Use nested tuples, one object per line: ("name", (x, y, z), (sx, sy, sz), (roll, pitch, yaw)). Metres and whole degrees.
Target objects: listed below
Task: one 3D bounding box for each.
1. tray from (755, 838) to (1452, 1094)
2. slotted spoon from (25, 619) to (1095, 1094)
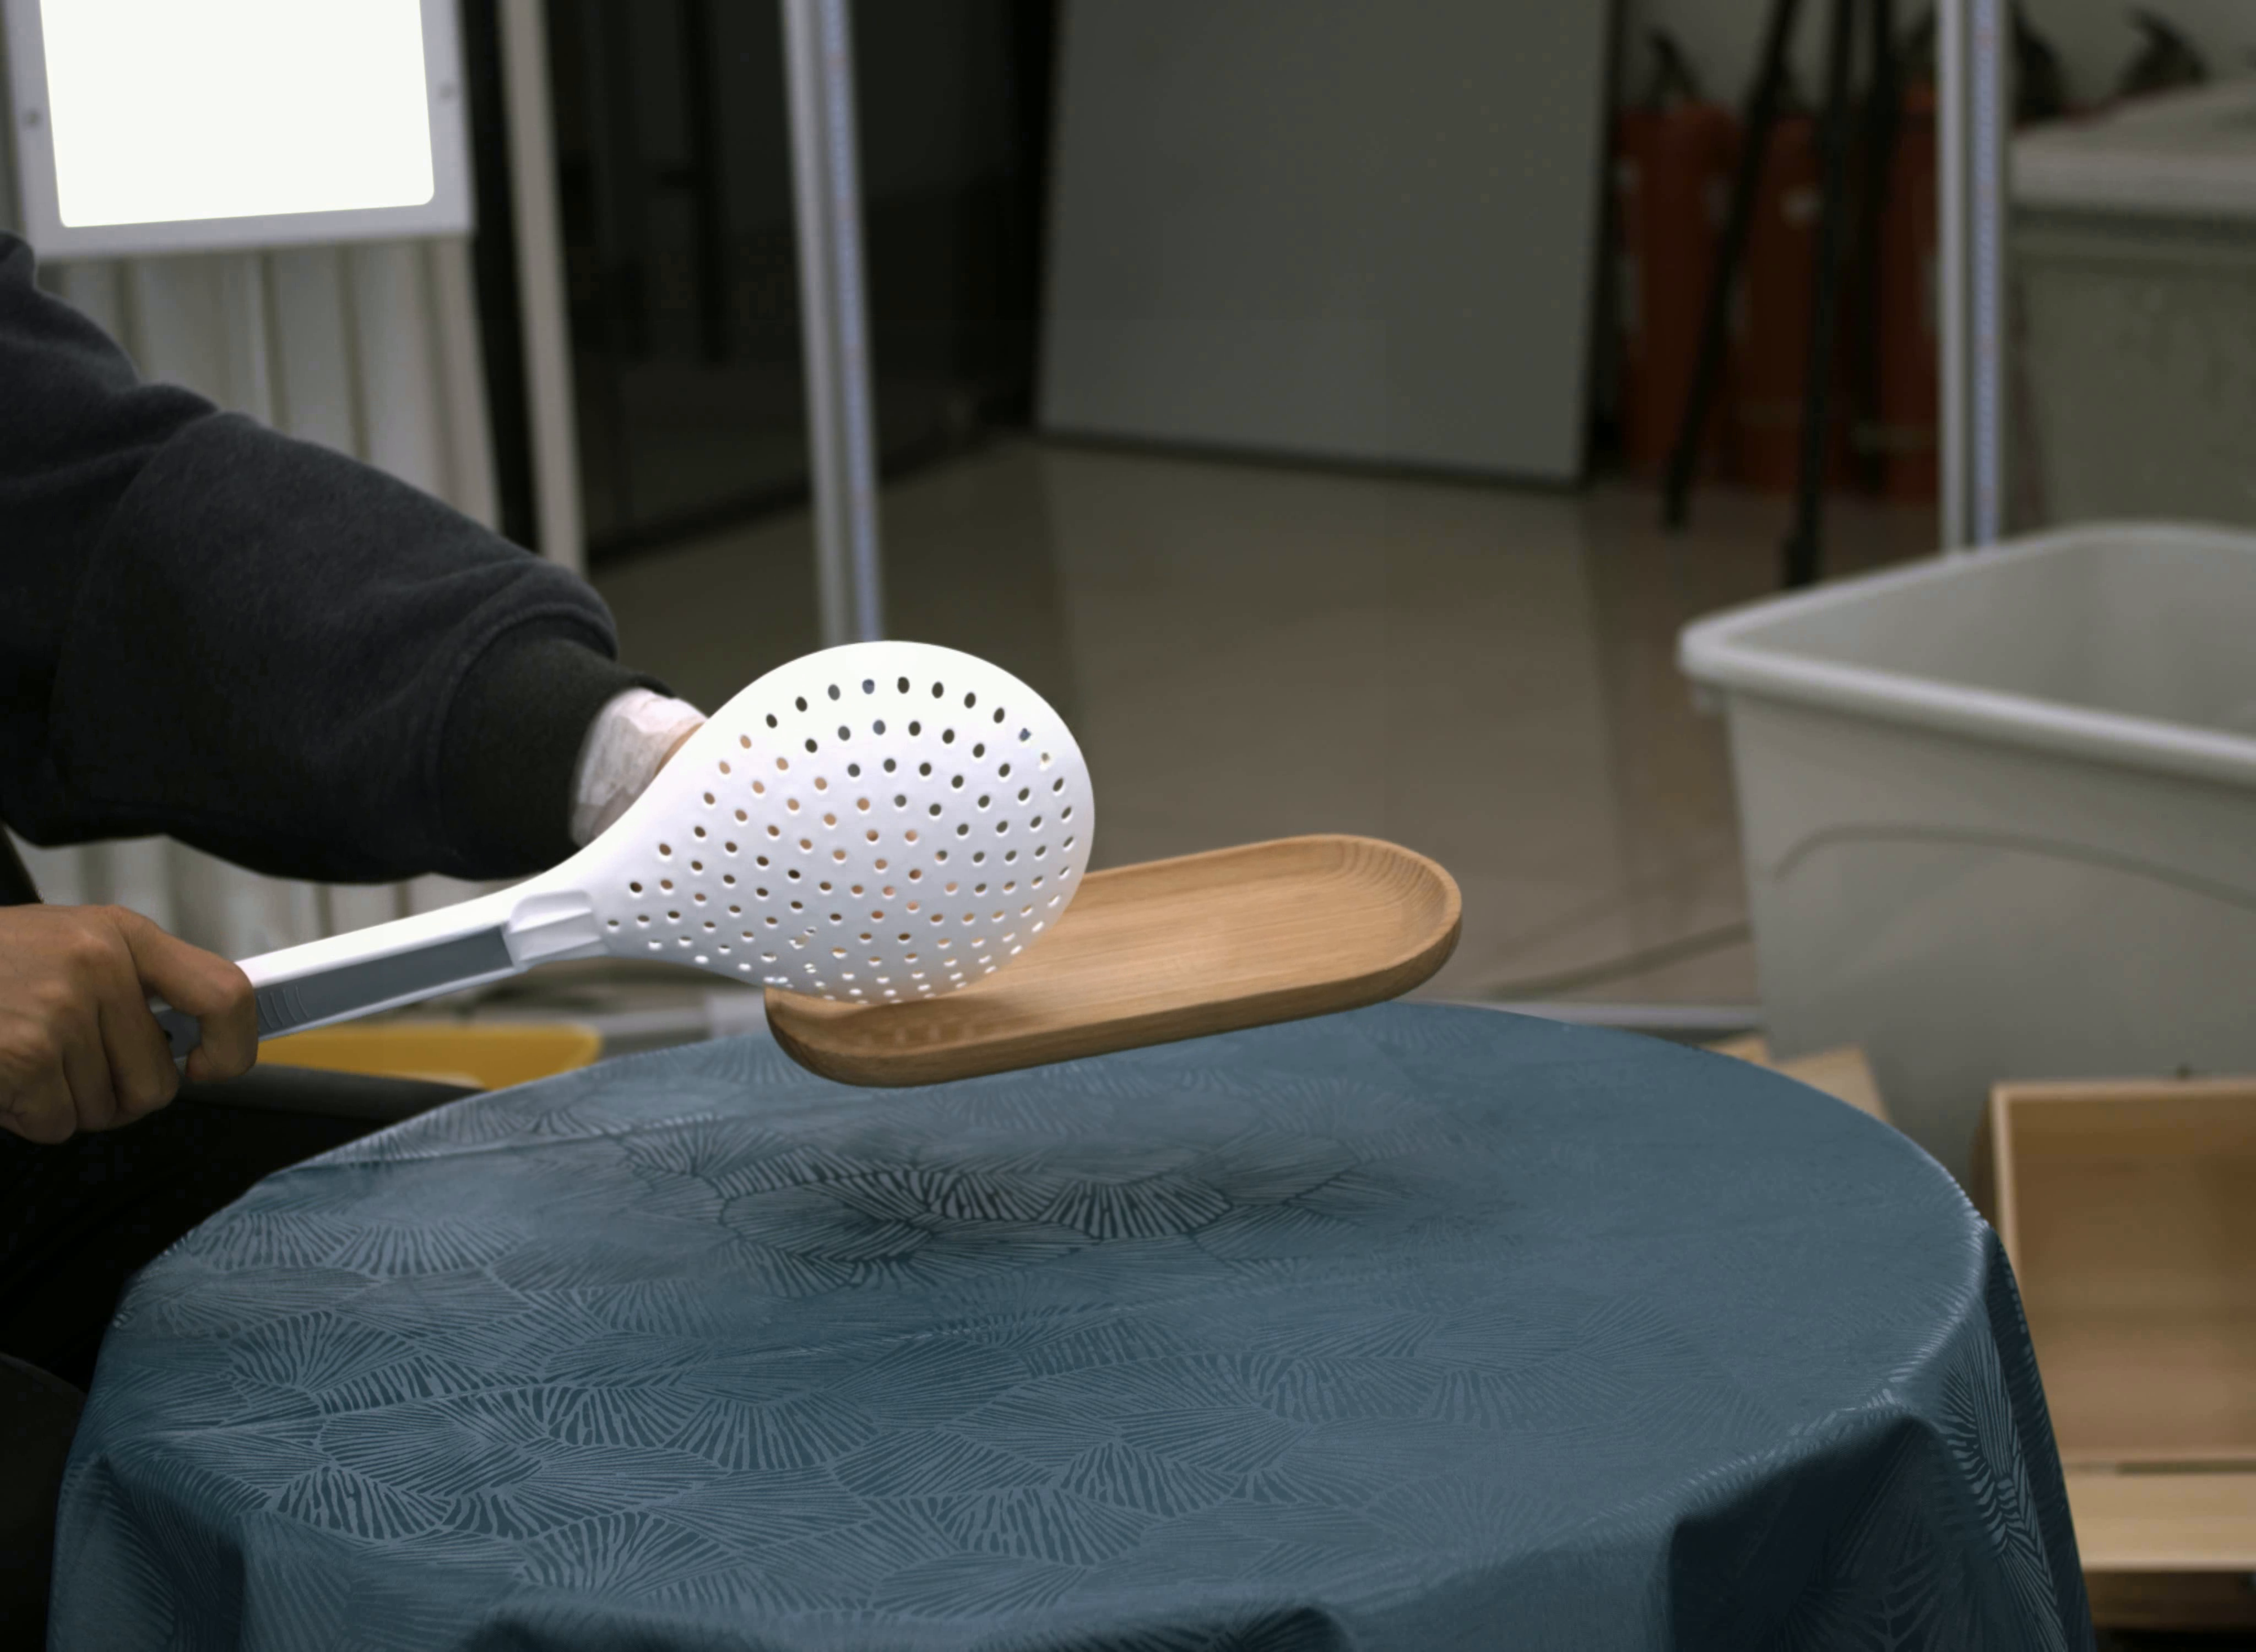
("tray", (-0.007, 0.045, 1.746), (0.227, 0.020, 0.102), (-11, 26, -6))
("slotted spoon", (-0.179, 0.027, 1.709), (0.347, 0.136, 0.046), (-13, 30, 8))
